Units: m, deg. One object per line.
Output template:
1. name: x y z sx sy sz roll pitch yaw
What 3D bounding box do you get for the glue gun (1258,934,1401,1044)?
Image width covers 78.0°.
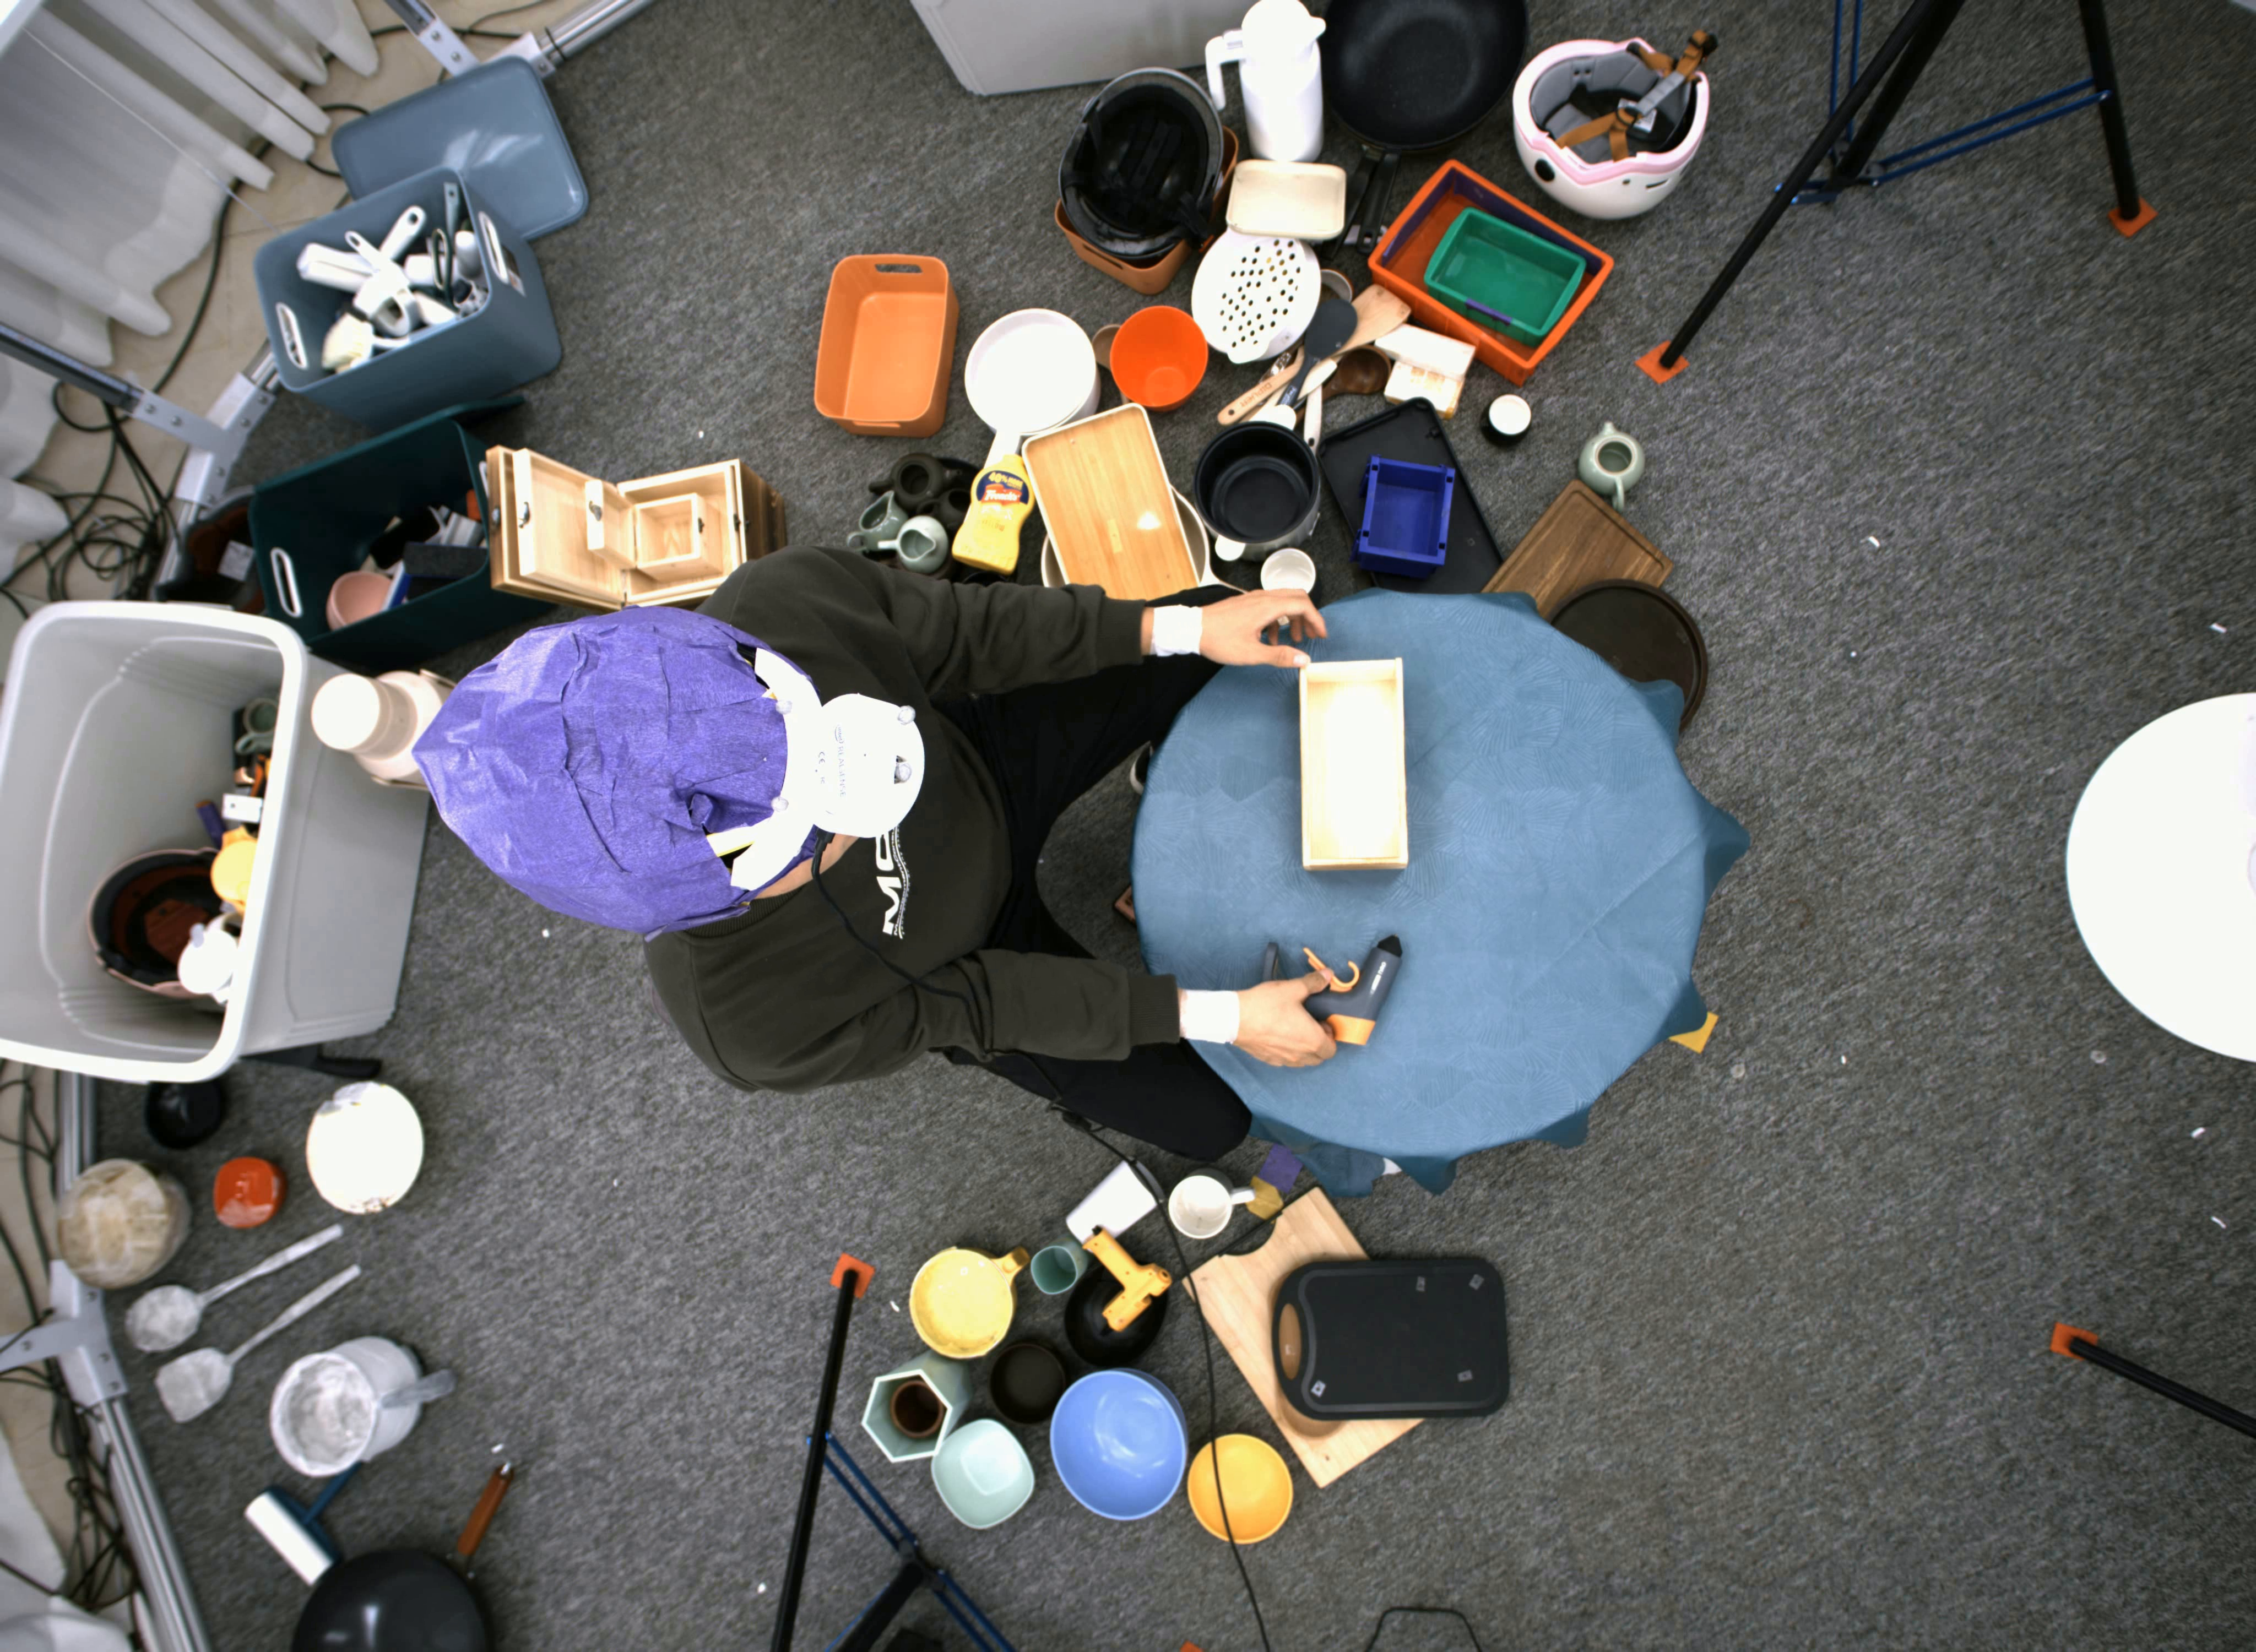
1. glue gun: 0.211 0.162 1.448 0.140 0.041 0.117 7 81 10

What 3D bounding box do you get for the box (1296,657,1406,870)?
1. box: 0.233 -0.063 1.434 0.108 0.080 0.210 -2 86 11
